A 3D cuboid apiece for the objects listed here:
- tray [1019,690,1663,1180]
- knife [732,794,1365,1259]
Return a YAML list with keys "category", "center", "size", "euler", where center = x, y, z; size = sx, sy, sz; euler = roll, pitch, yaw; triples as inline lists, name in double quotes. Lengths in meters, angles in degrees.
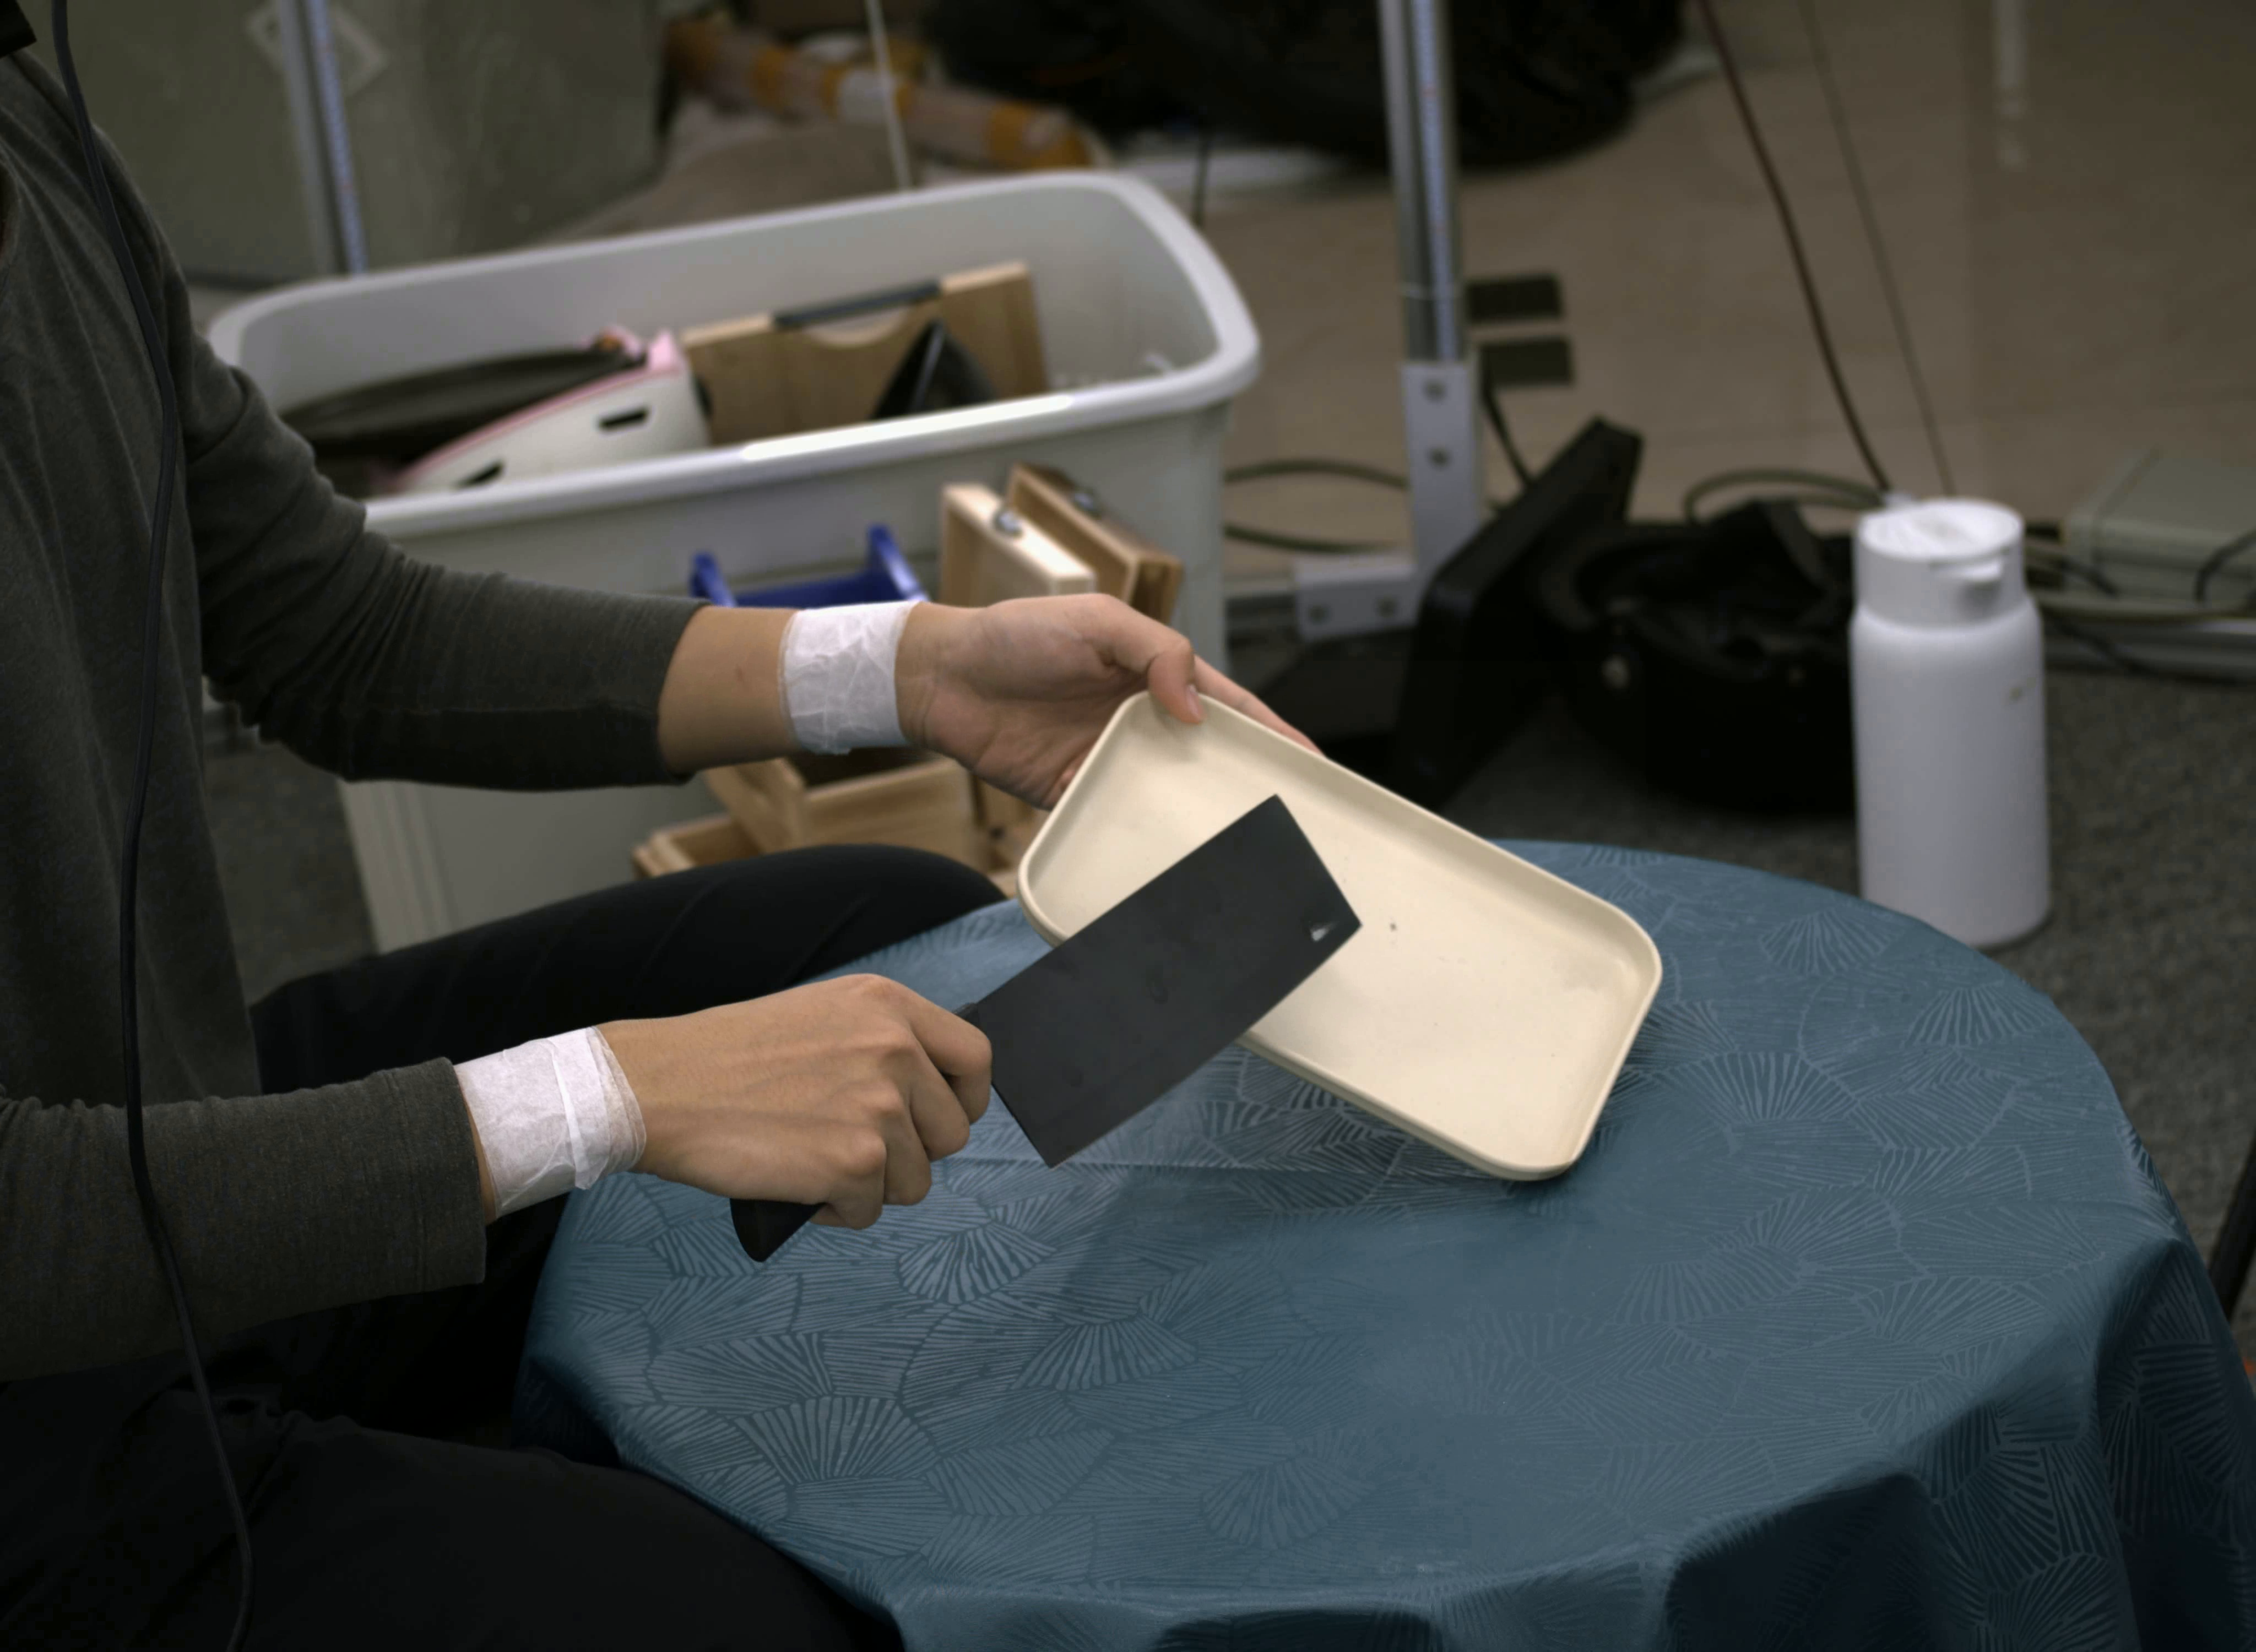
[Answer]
- category: "tray"
  center: [0.082, 0.042, 2.177]
  size: [0.239, 0.018, 0.168]
  euler: [28, 40, 3]
- category: "knife"
  center: [-0.027, 0.078, 2.038]
  size: [0.299, 0.081, 0.021]
  euler: [-29, -1, -36]
